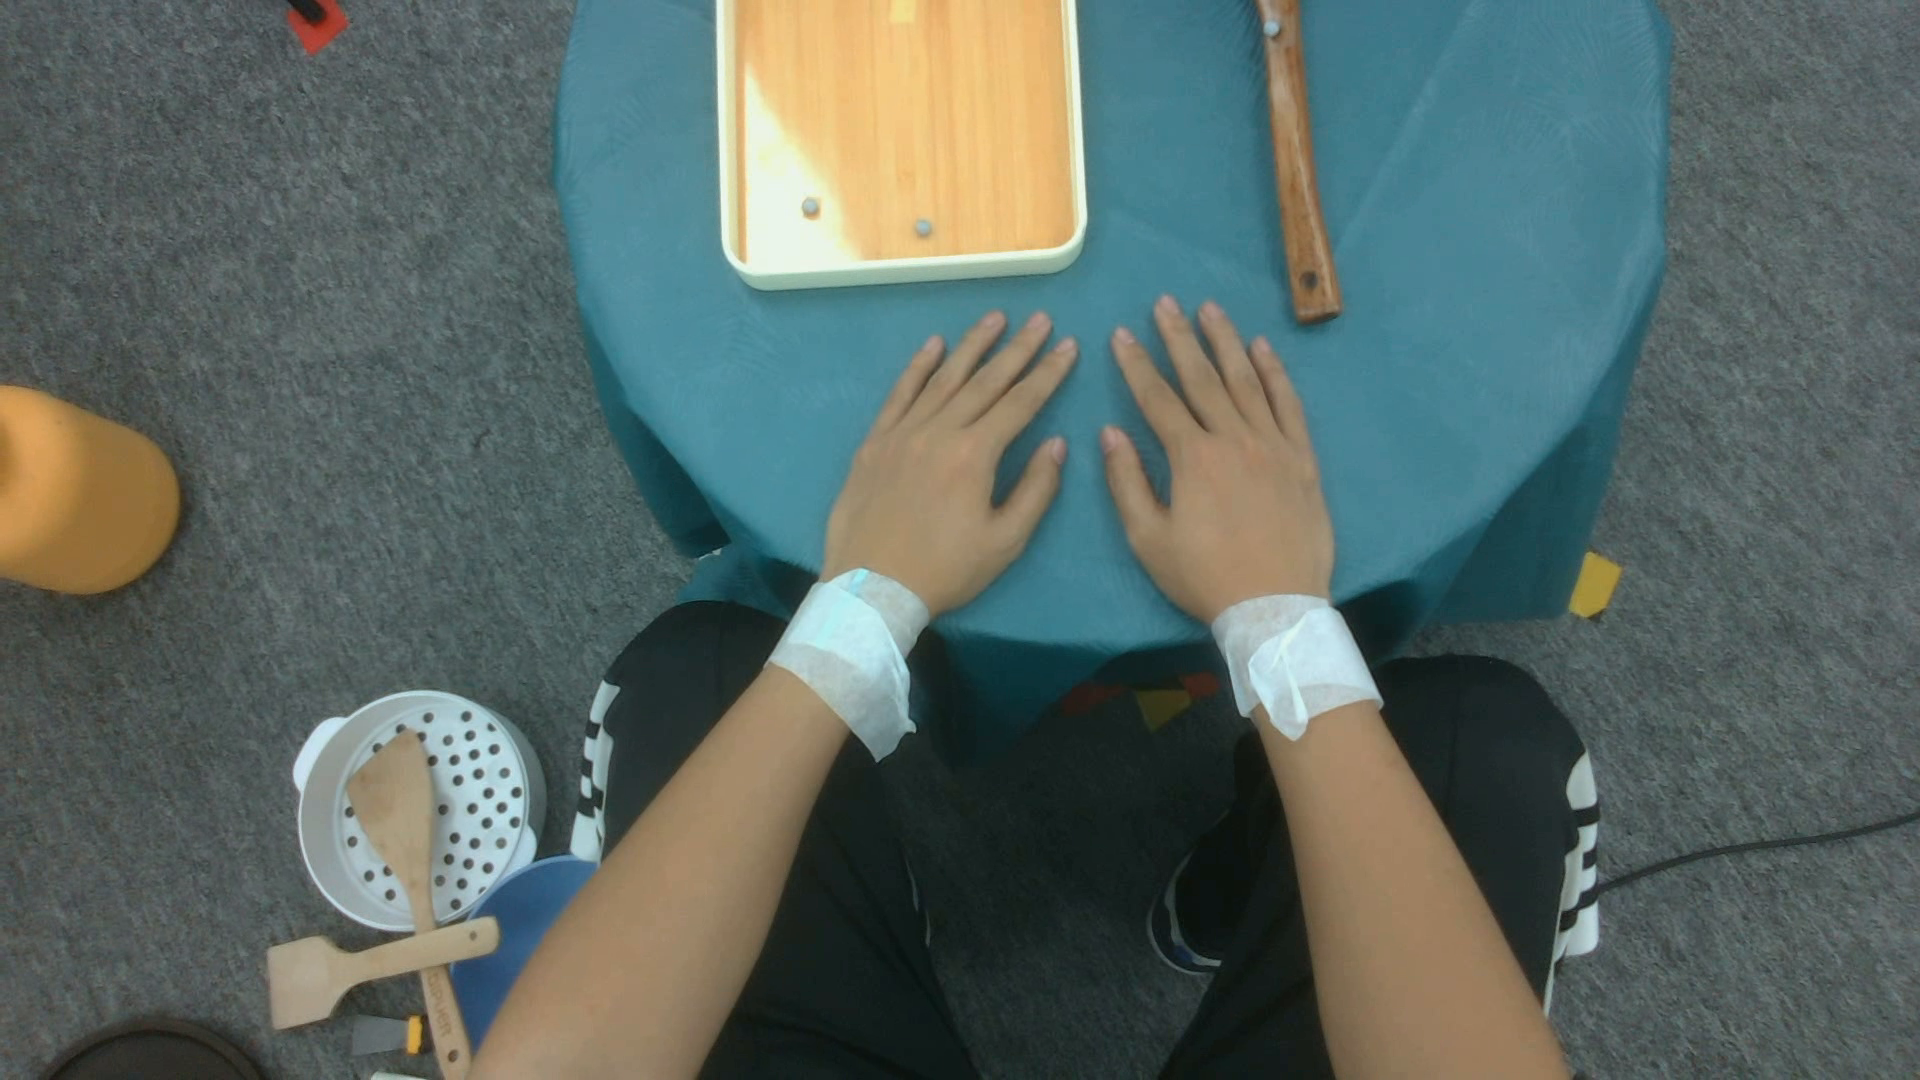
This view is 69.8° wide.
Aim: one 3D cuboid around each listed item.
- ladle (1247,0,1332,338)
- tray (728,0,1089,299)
[{"bbox_3d":[0.159,-0.245,0.722,0.081,0.077,0.274,-13,75,41],"label":"ladle"},{"bbox_3d":[-0.032,-0.283,0.765,0.191,0.027,0.301,-3,78,3],"label":"tray"}]
